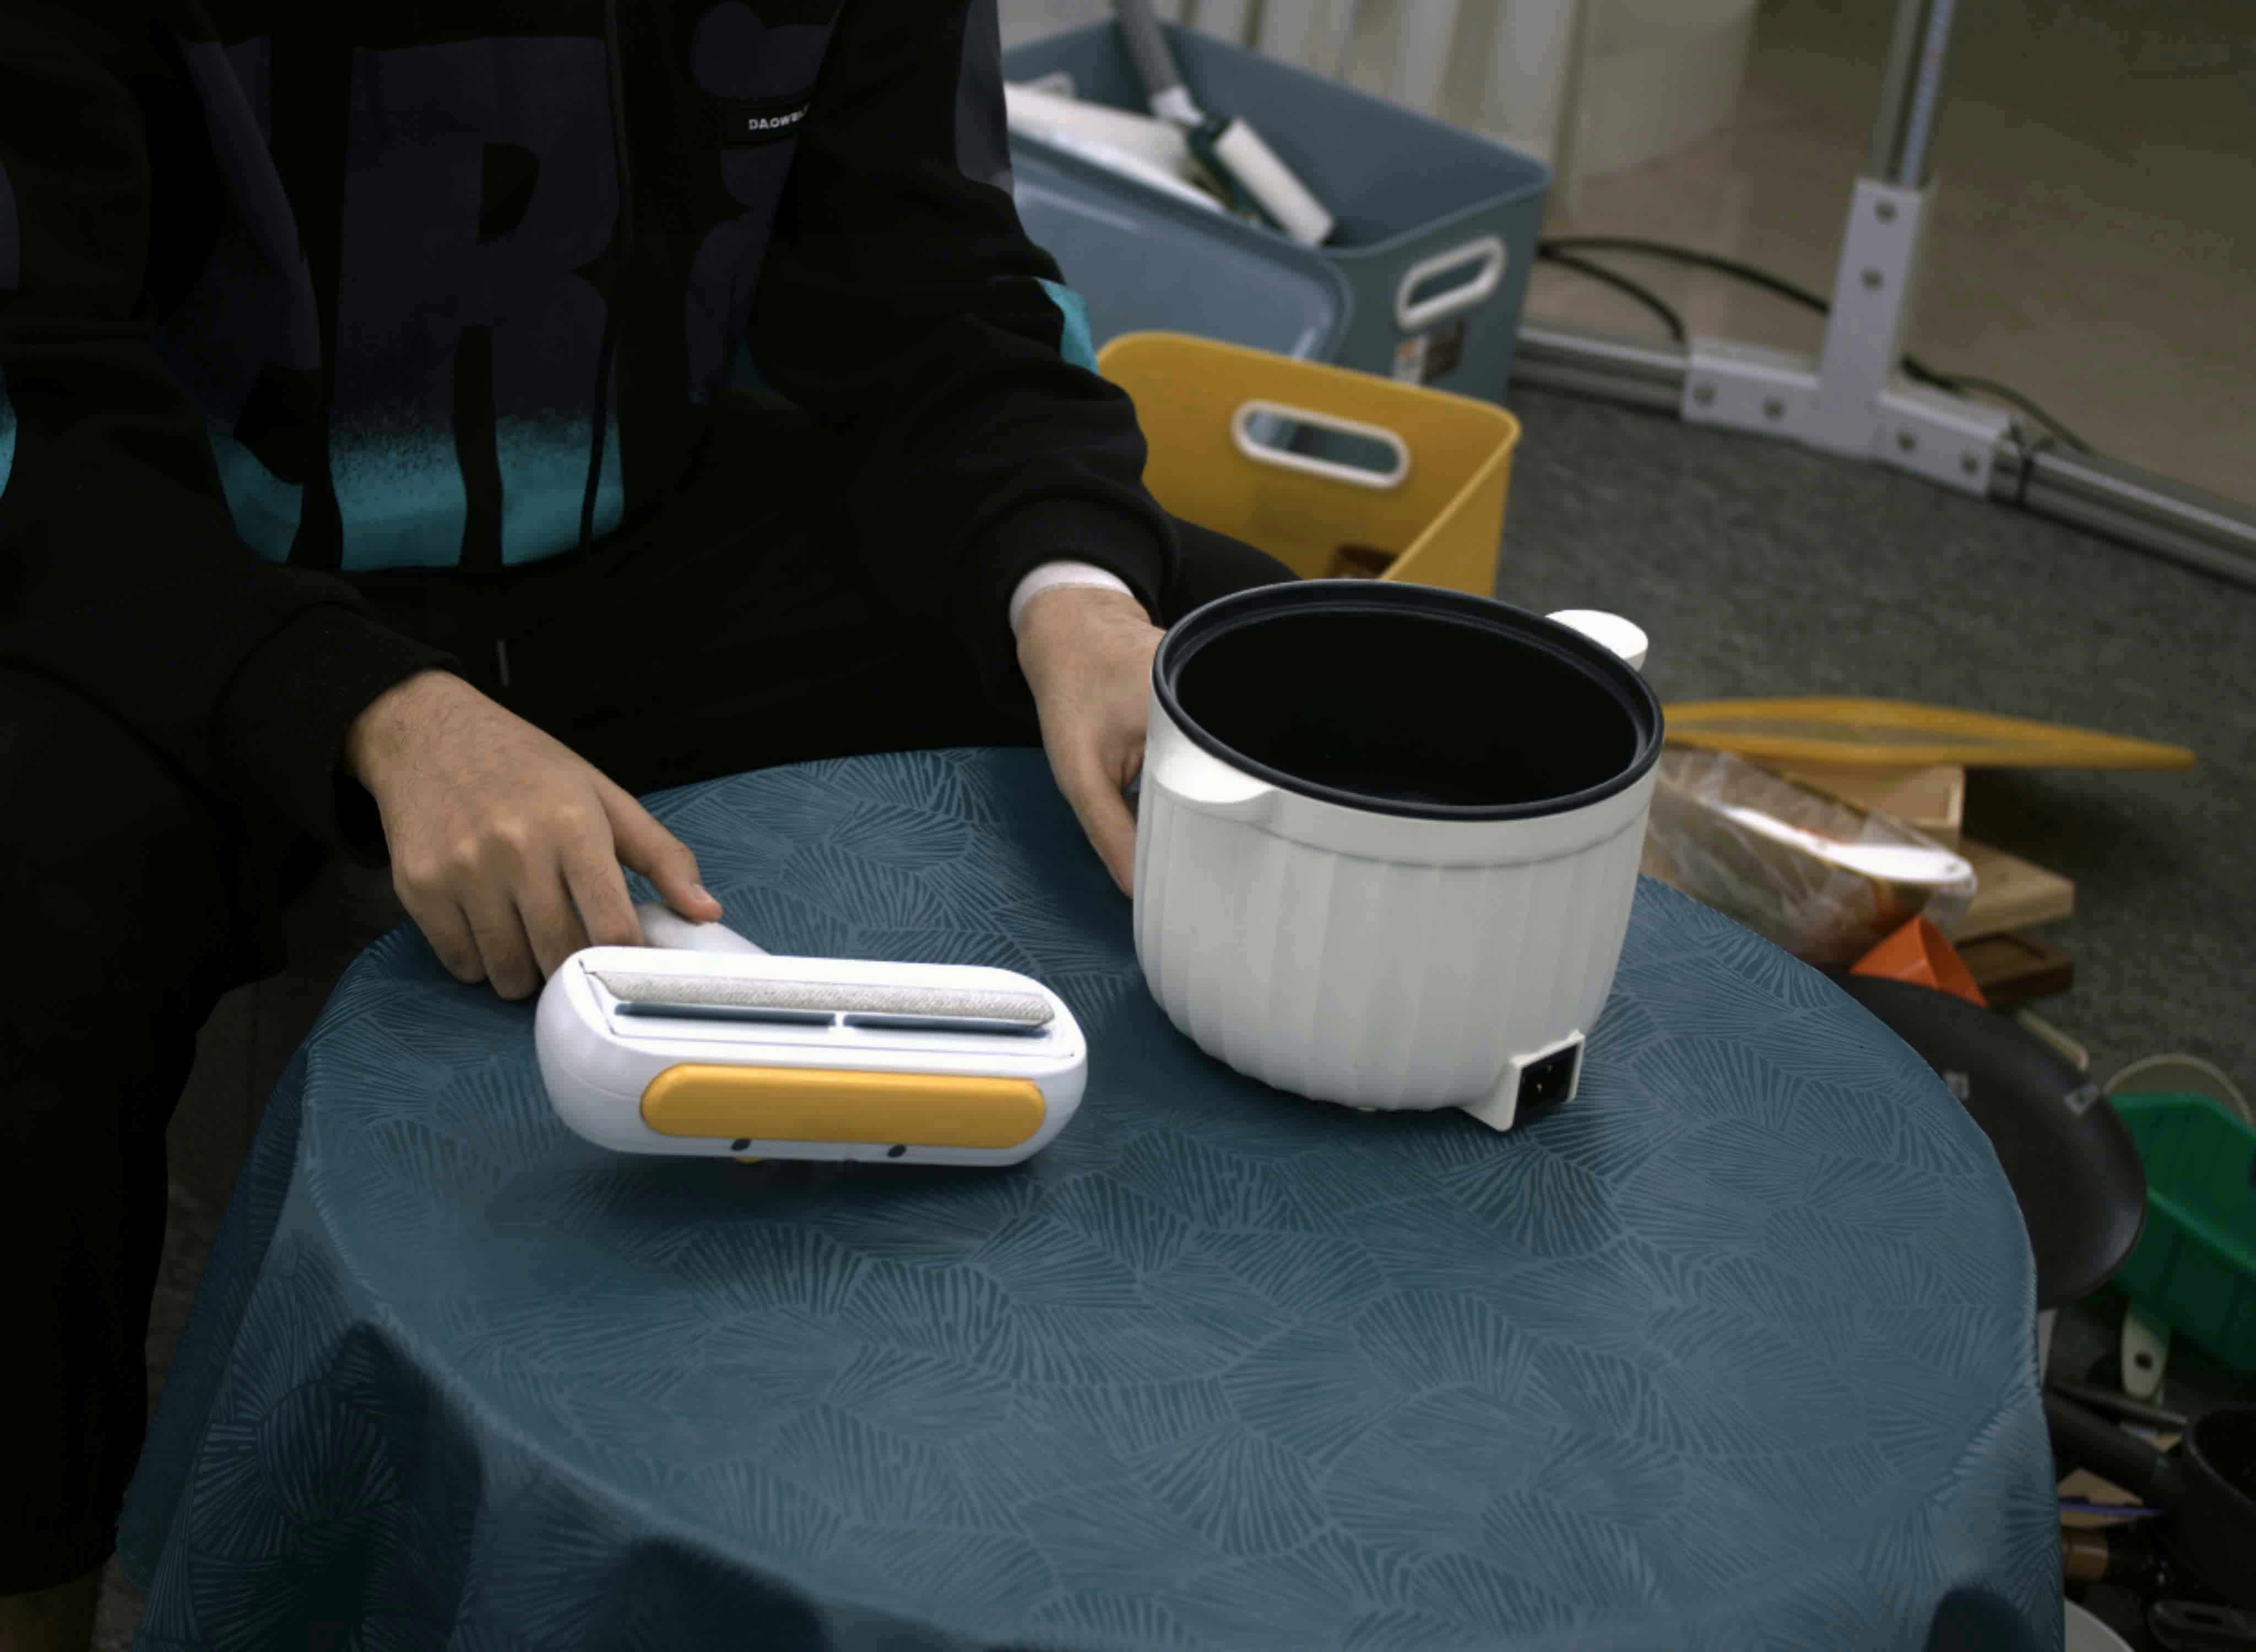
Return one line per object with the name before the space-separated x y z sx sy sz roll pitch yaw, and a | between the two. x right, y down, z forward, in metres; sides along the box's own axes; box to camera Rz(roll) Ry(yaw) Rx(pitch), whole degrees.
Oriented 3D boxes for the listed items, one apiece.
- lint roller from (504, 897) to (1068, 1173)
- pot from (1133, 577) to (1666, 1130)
lint roller | -0.133 0.058 1.823 0.191 0.074 0.194 1 25 -22
pot | 0.086 0.009 1.889 0.192 0.142 0.239 31 34 35
